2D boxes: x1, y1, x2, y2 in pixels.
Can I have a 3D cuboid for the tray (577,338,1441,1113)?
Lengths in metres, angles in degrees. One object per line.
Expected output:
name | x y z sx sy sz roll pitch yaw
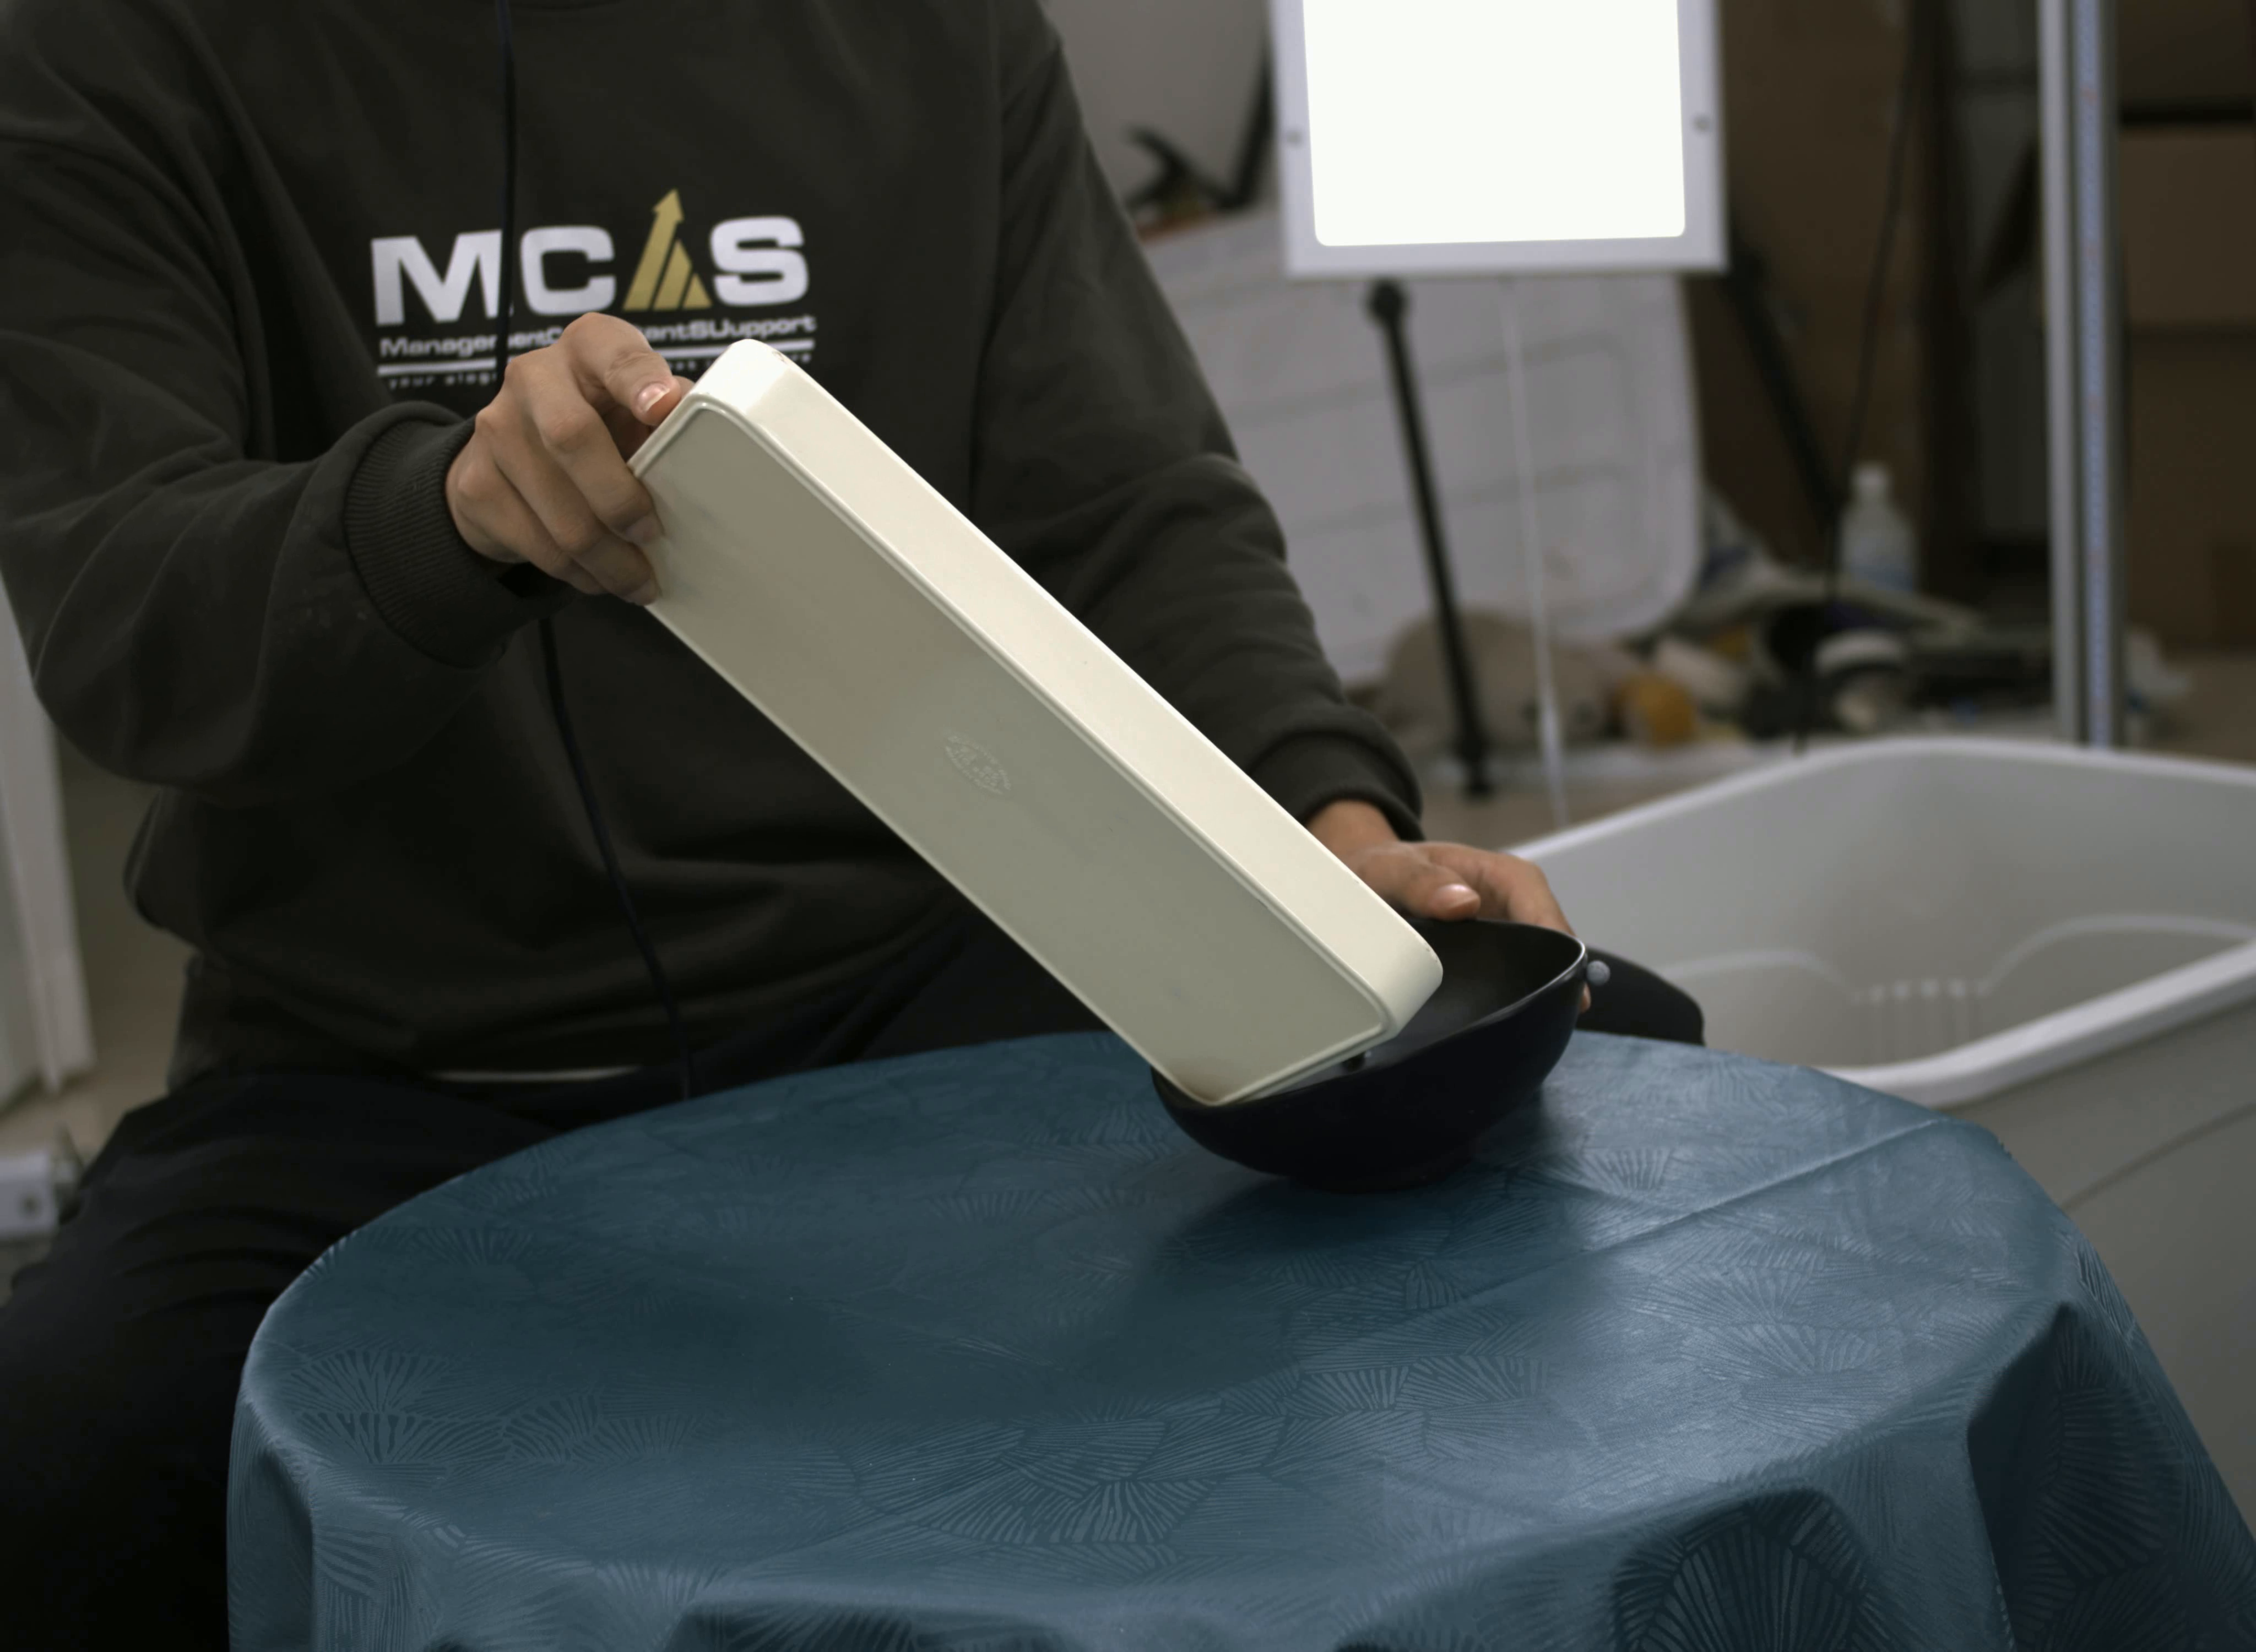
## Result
tray | -0.043 -0.026 1.781 0.027 0.299 0.194 -49 5 -21

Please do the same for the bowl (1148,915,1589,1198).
bowl | 0.088 0.086 1.896 0.166 0.067 0.140 -25 21 -36
